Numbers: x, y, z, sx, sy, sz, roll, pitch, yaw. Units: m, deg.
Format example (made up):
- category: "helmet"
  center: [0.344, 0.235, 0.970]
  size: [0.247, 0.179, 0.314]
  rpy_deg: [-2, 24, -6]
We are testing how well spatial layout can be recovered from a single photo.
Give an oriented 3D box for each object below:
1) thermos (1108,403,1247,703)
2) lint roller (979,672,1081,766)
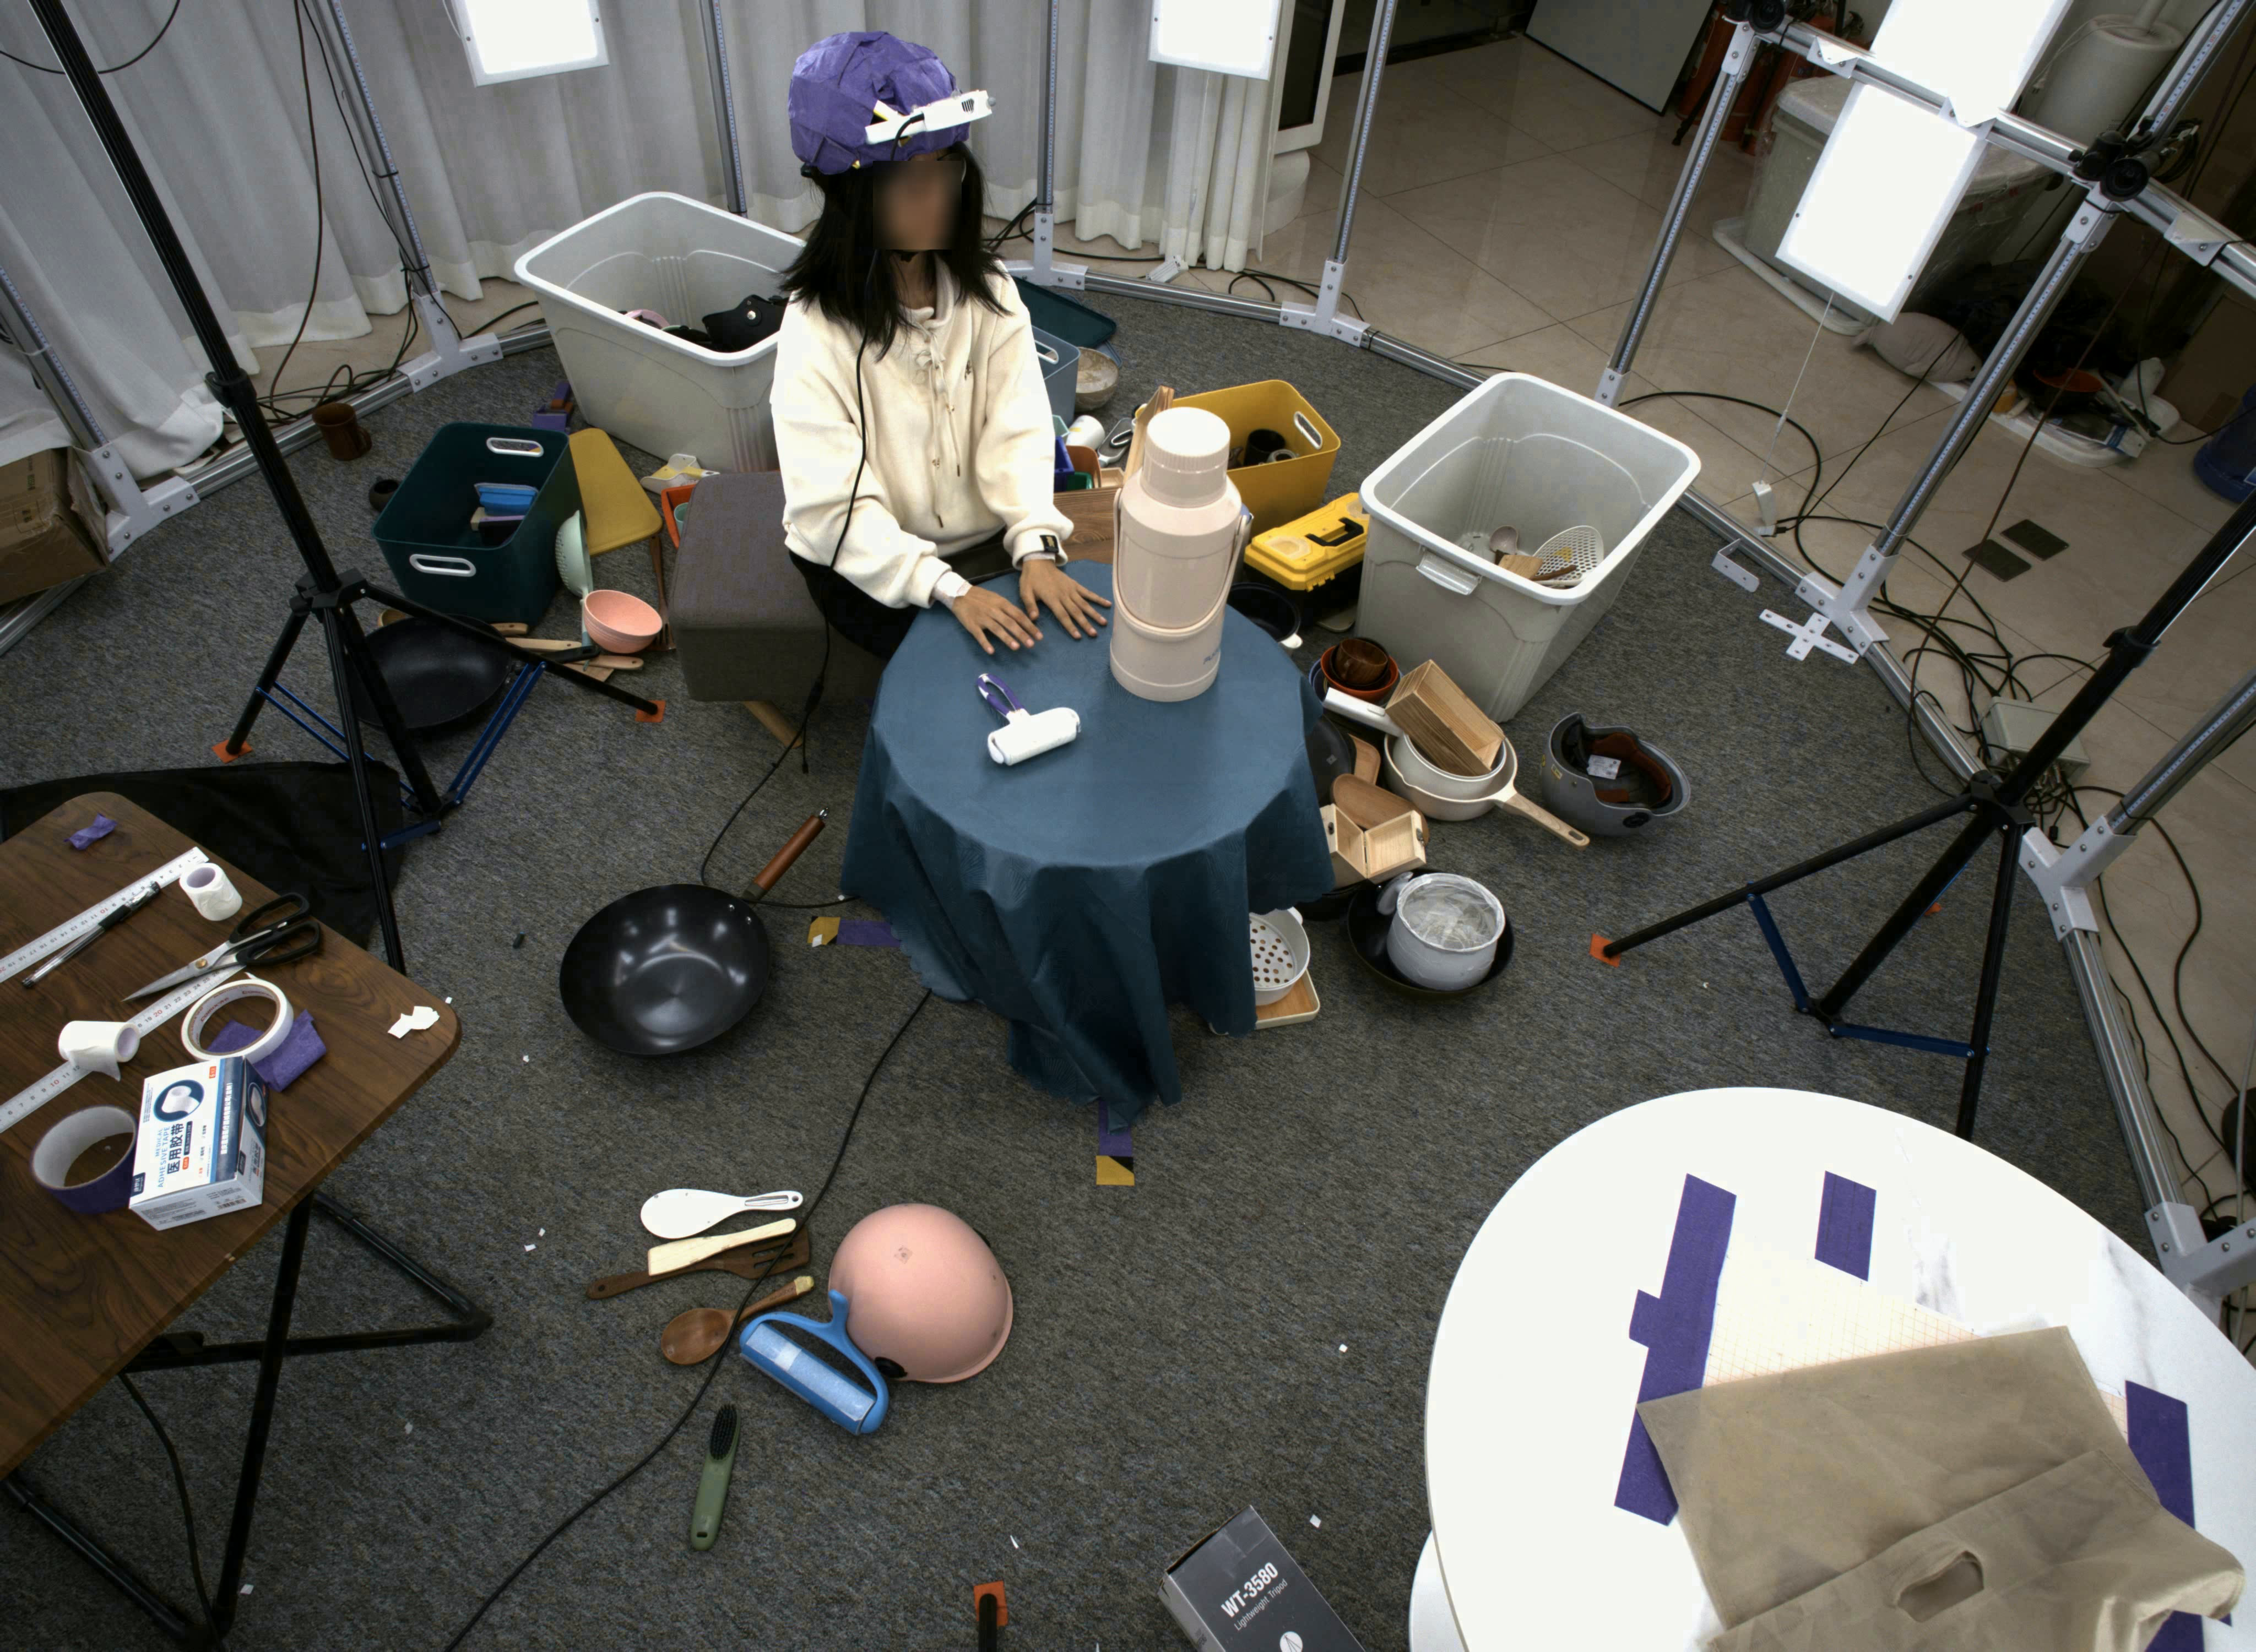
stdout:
- category: "thermos"
  center: [0.068, -0.371, 1.741]
  size: [0.176, 0.396, 0.211]
  rpy_deg: [14, 50, 8]
- category: "lint roller"
  center: [-0.156, -0.166, 1.773]
  size: [0.133, 0.049, 0.184]
  rpy_deg: [-22, 56, -20]
